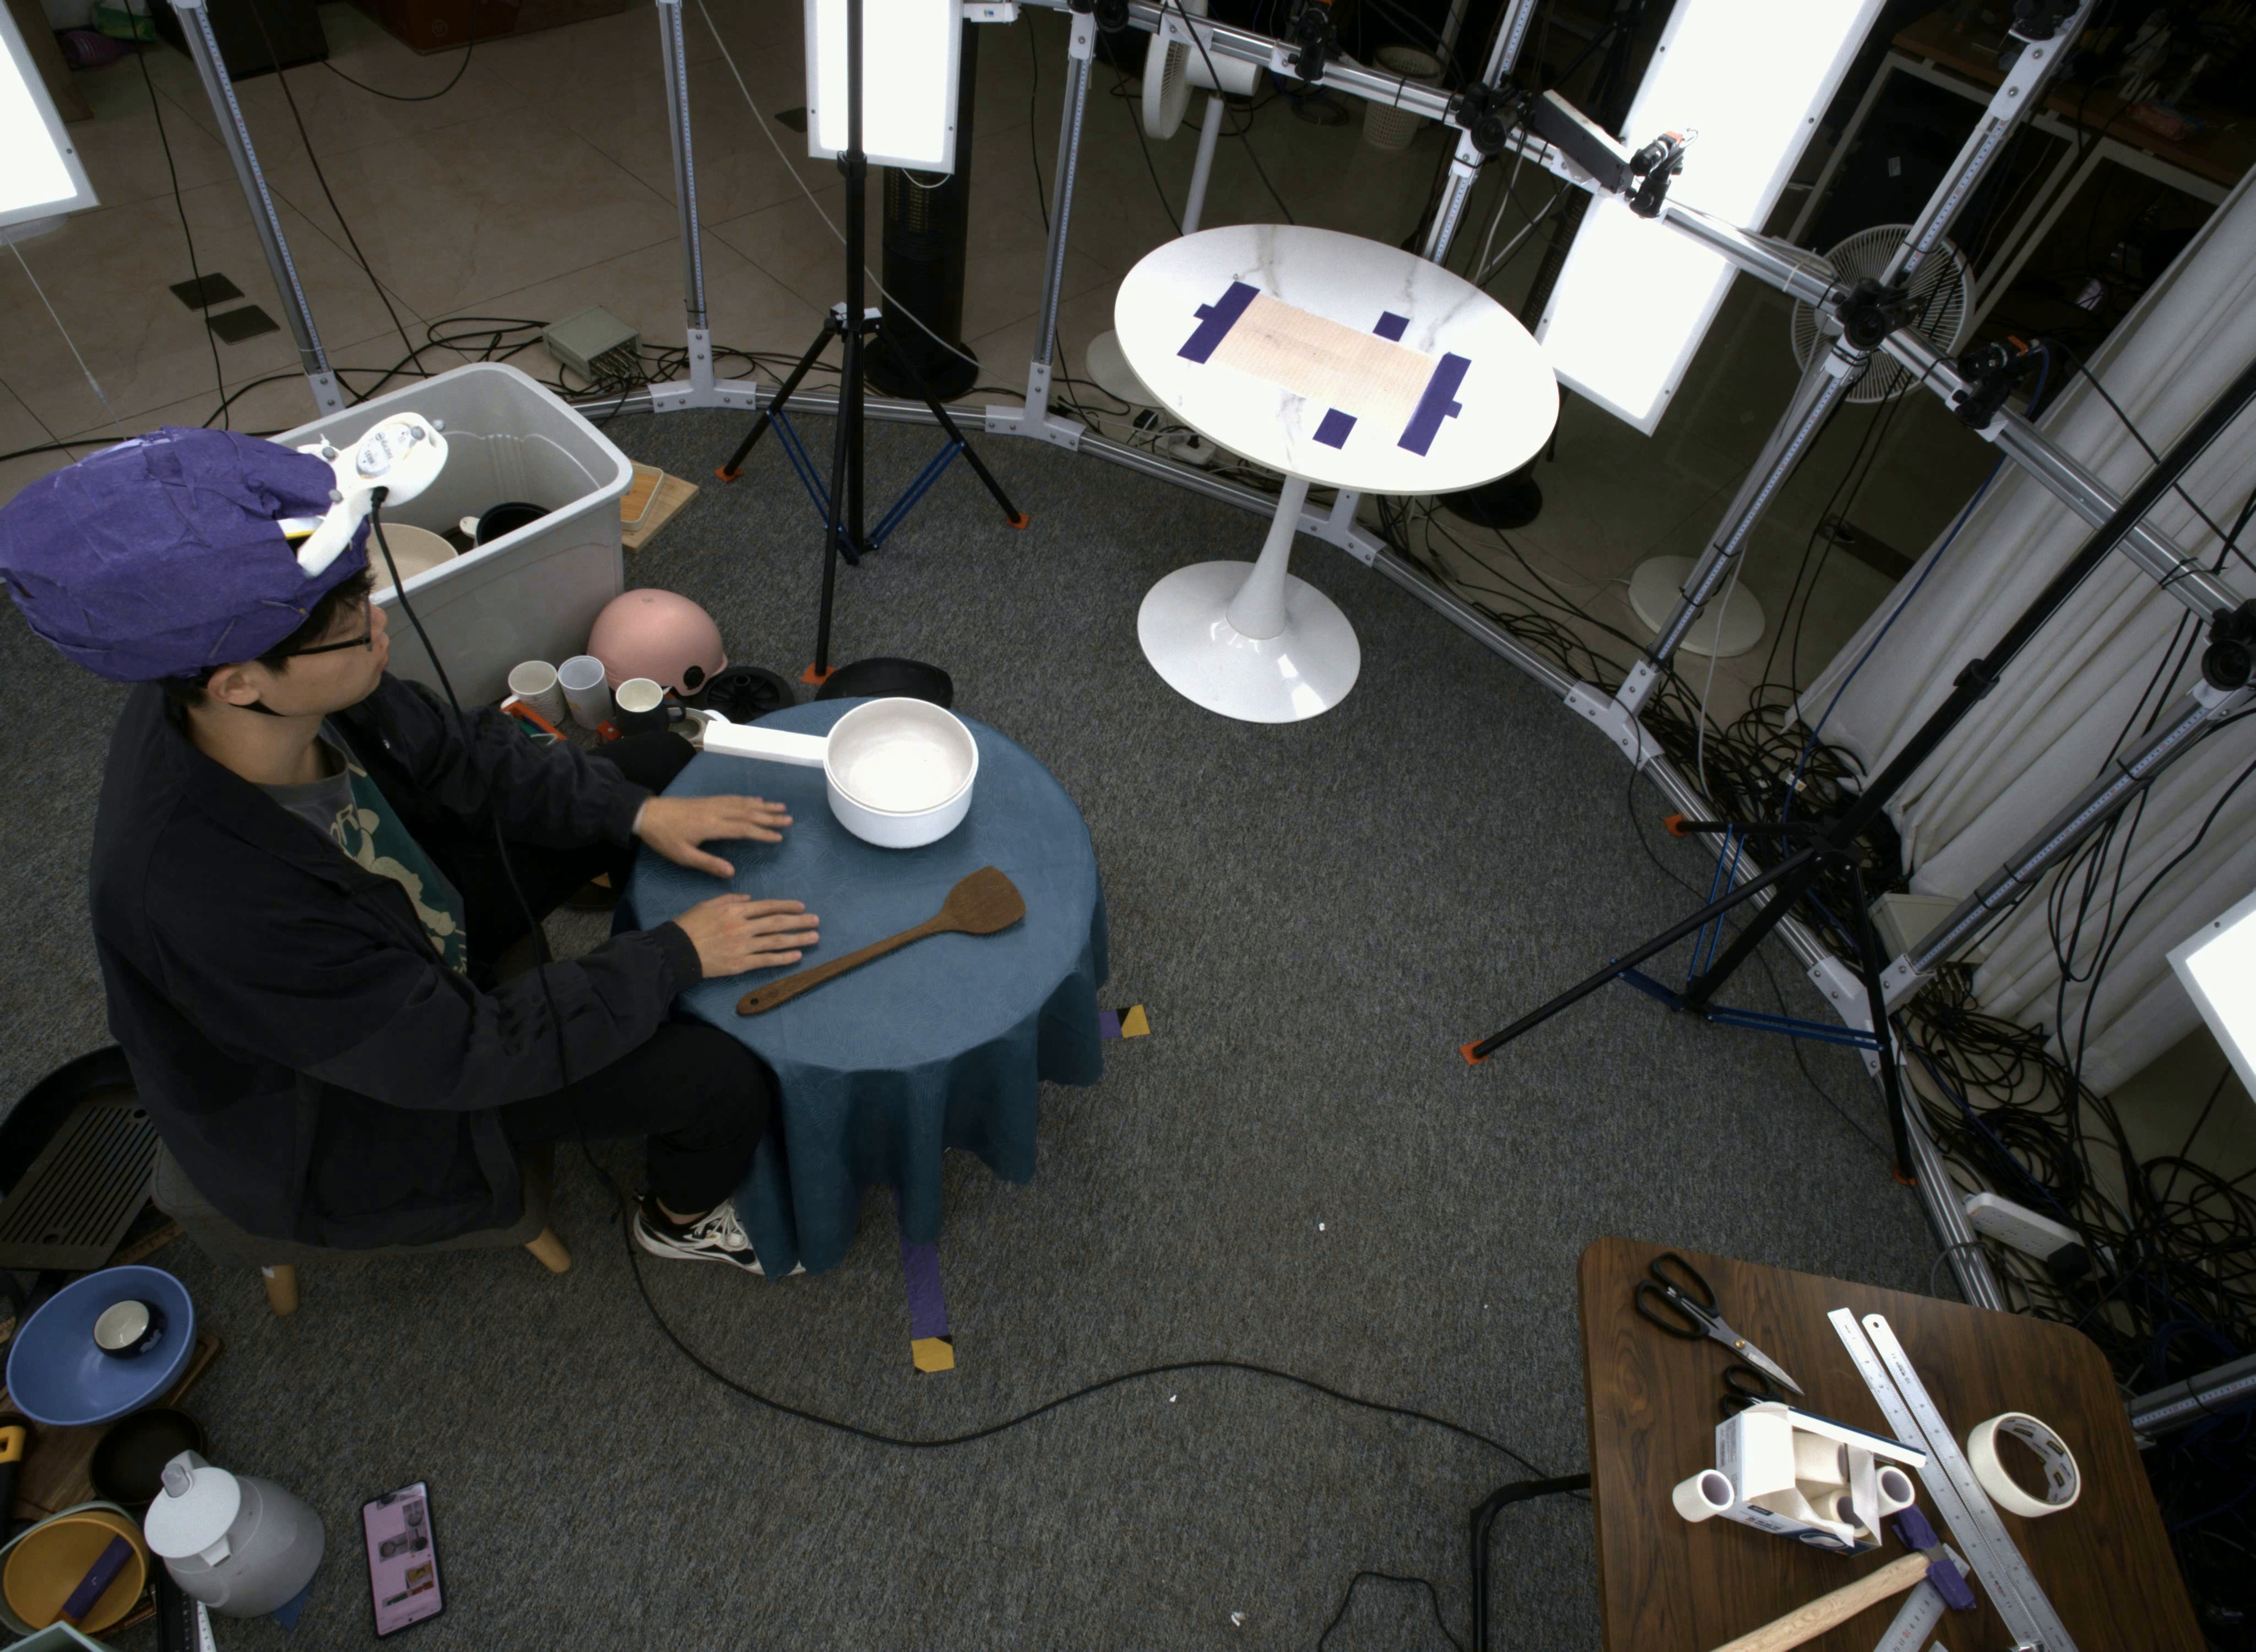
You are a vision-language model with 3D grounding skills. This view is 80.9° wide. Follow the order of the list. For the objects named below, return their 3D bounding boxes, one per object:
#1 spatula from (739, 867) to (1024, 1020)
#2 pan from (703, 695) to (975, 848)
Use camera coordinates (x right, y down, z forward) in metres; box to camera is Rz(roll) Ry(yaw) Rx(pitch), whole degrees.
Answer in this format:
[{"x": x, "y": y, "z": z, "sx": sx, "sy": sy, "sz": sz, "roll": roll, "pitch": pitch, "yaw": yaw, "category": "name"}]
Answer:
[{"x": -0.307, "y": 0.152, "z": 1.632, "sx": 0.387, "sy": 0.016, "sz": 0.094, "roll": -24, "pitch": 63, "yaw": -27, "category": "spatula"}, {"x": -0.382, "y": -0.077, "z": 1.729, "sx": 0.353, "sy": 0.104, "sz": 0.198, "roll": 7, "pitch": 52, "yaw": -7, "category": "pan"}]
